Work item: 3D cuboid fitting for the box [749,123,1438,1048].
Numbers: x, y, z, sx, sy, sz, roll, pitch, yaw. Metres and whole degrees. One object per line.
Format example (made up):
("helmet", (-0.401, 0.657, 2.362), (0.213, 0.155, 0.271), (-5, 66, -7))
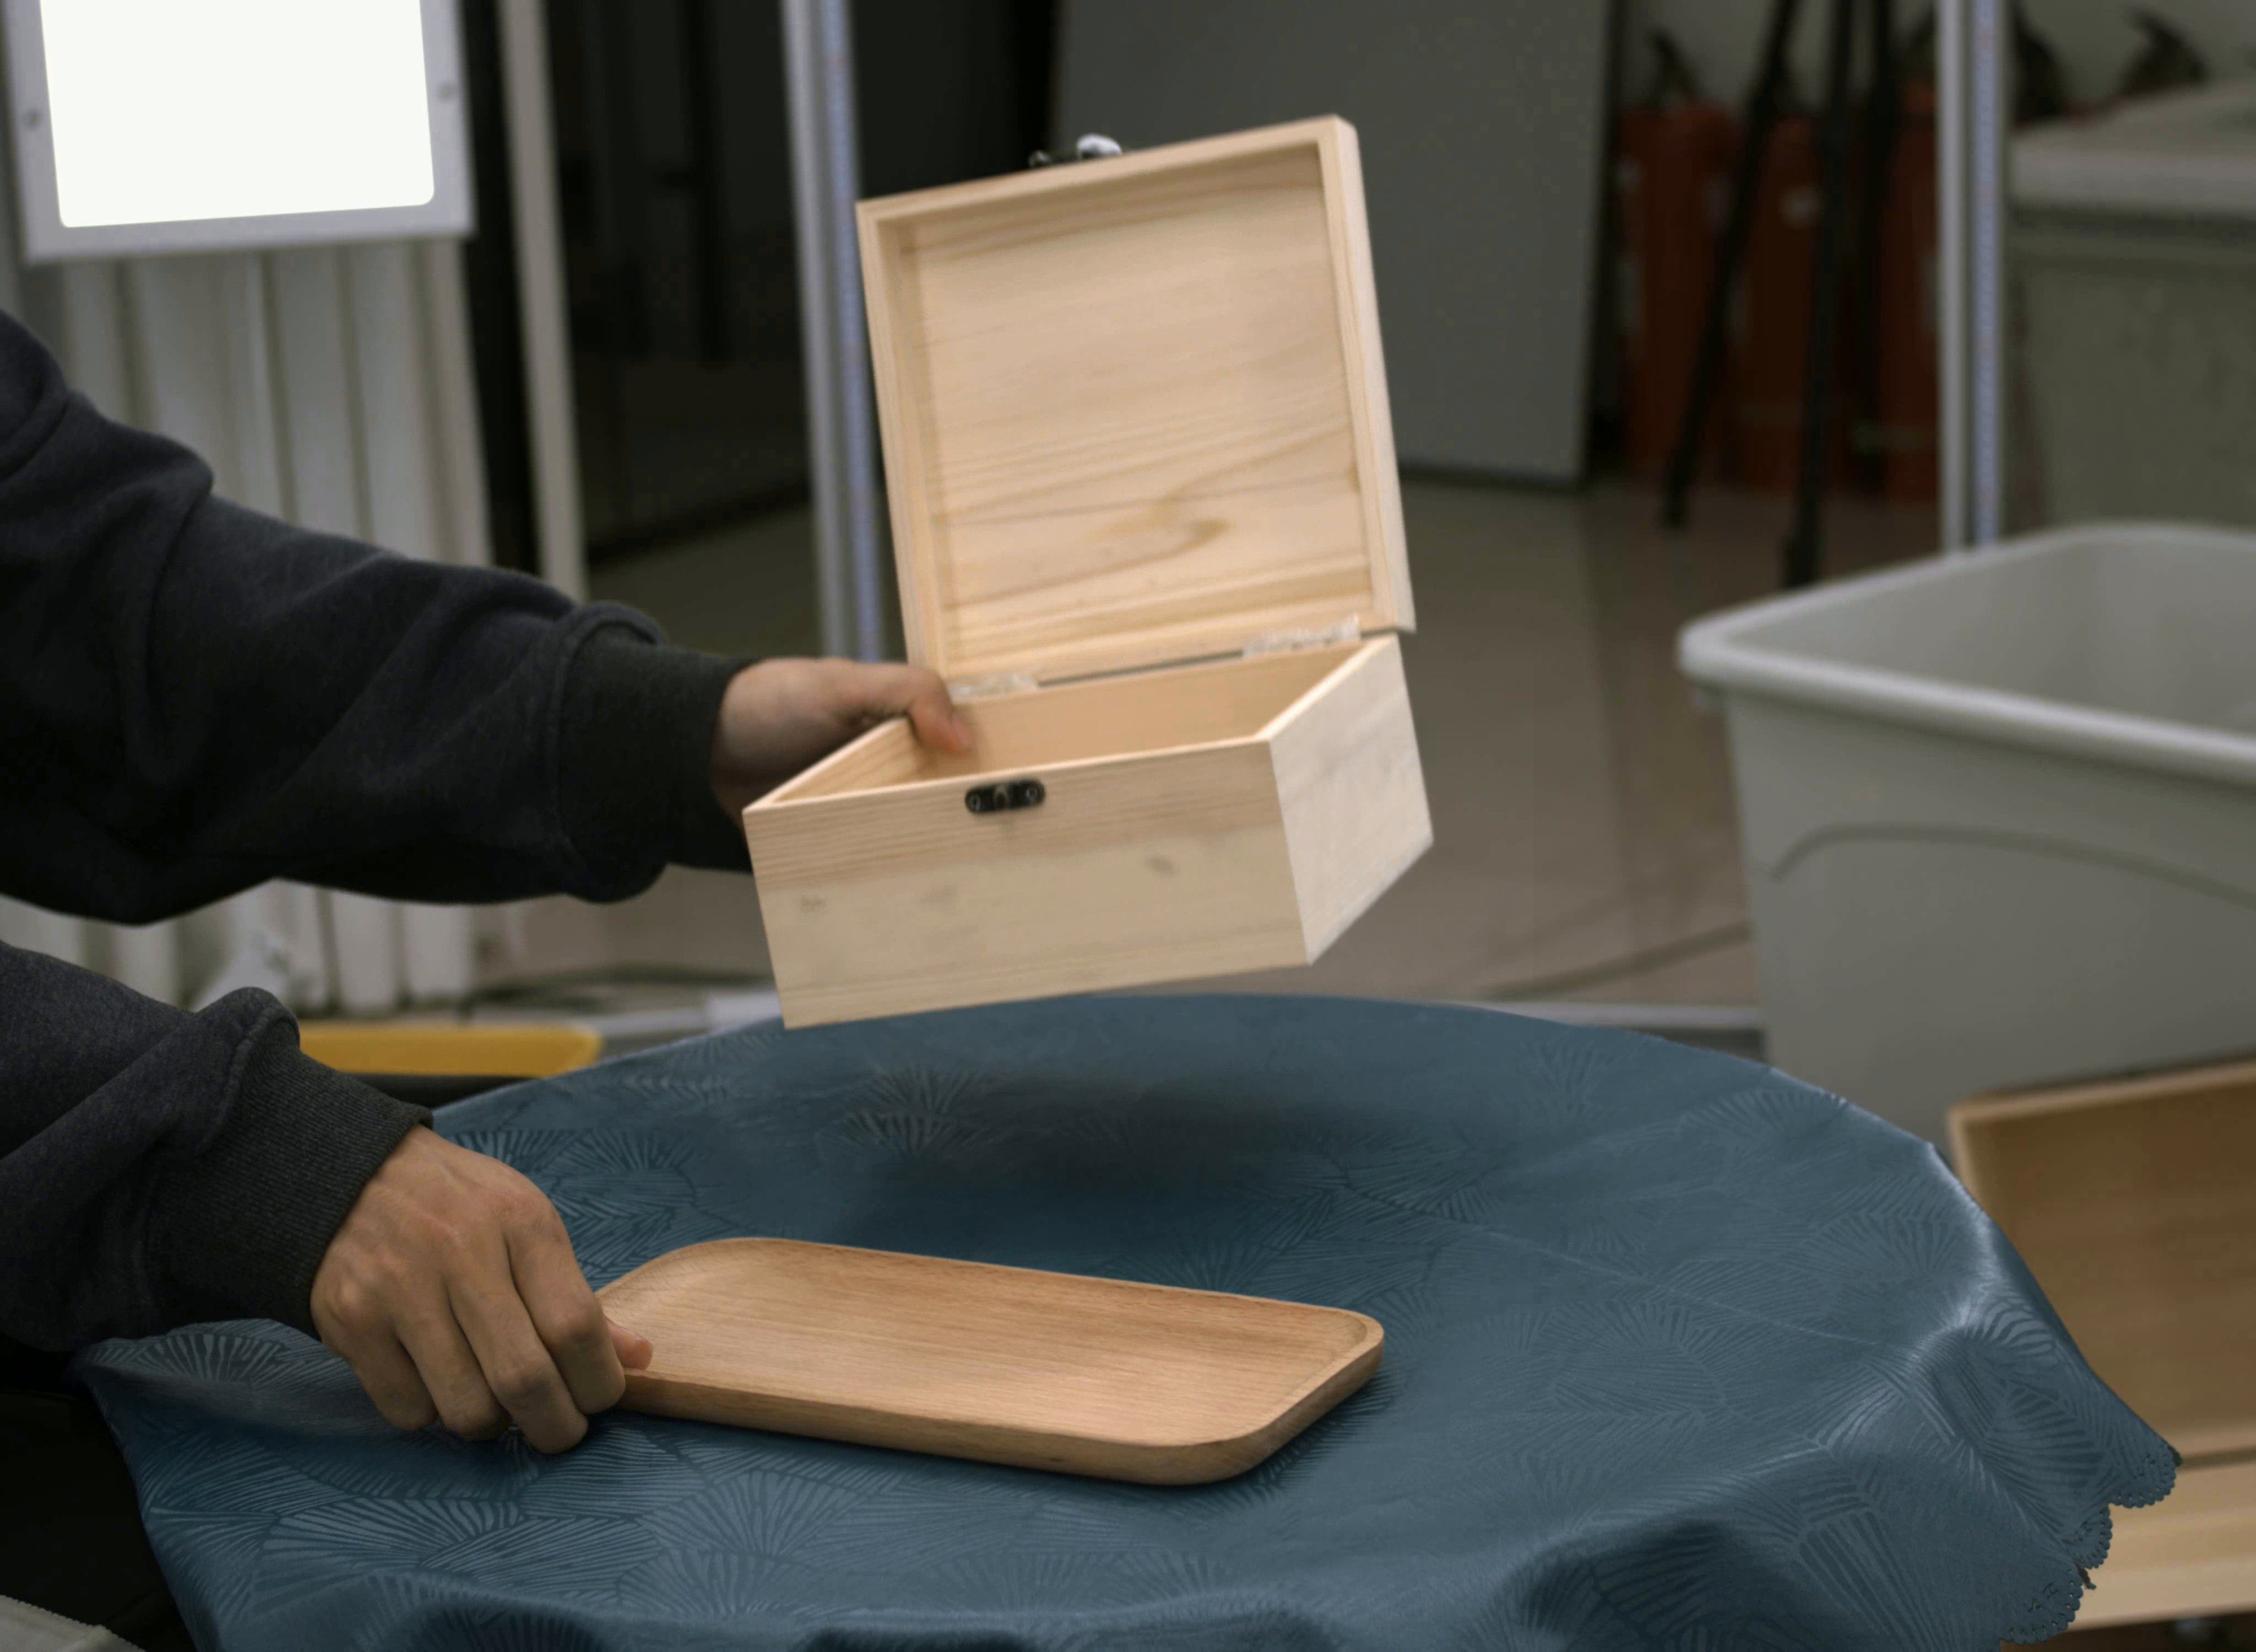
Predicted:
("box", (-0.017, -0.087, 1.818), (0.181, 0.256, 0.263), (-11, 7, 18))

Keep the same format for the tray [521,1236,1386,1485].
("tray", (-0.052, 0.157, 1.598), (0.251, 0.023, 0.128), (4, 12, 30))
